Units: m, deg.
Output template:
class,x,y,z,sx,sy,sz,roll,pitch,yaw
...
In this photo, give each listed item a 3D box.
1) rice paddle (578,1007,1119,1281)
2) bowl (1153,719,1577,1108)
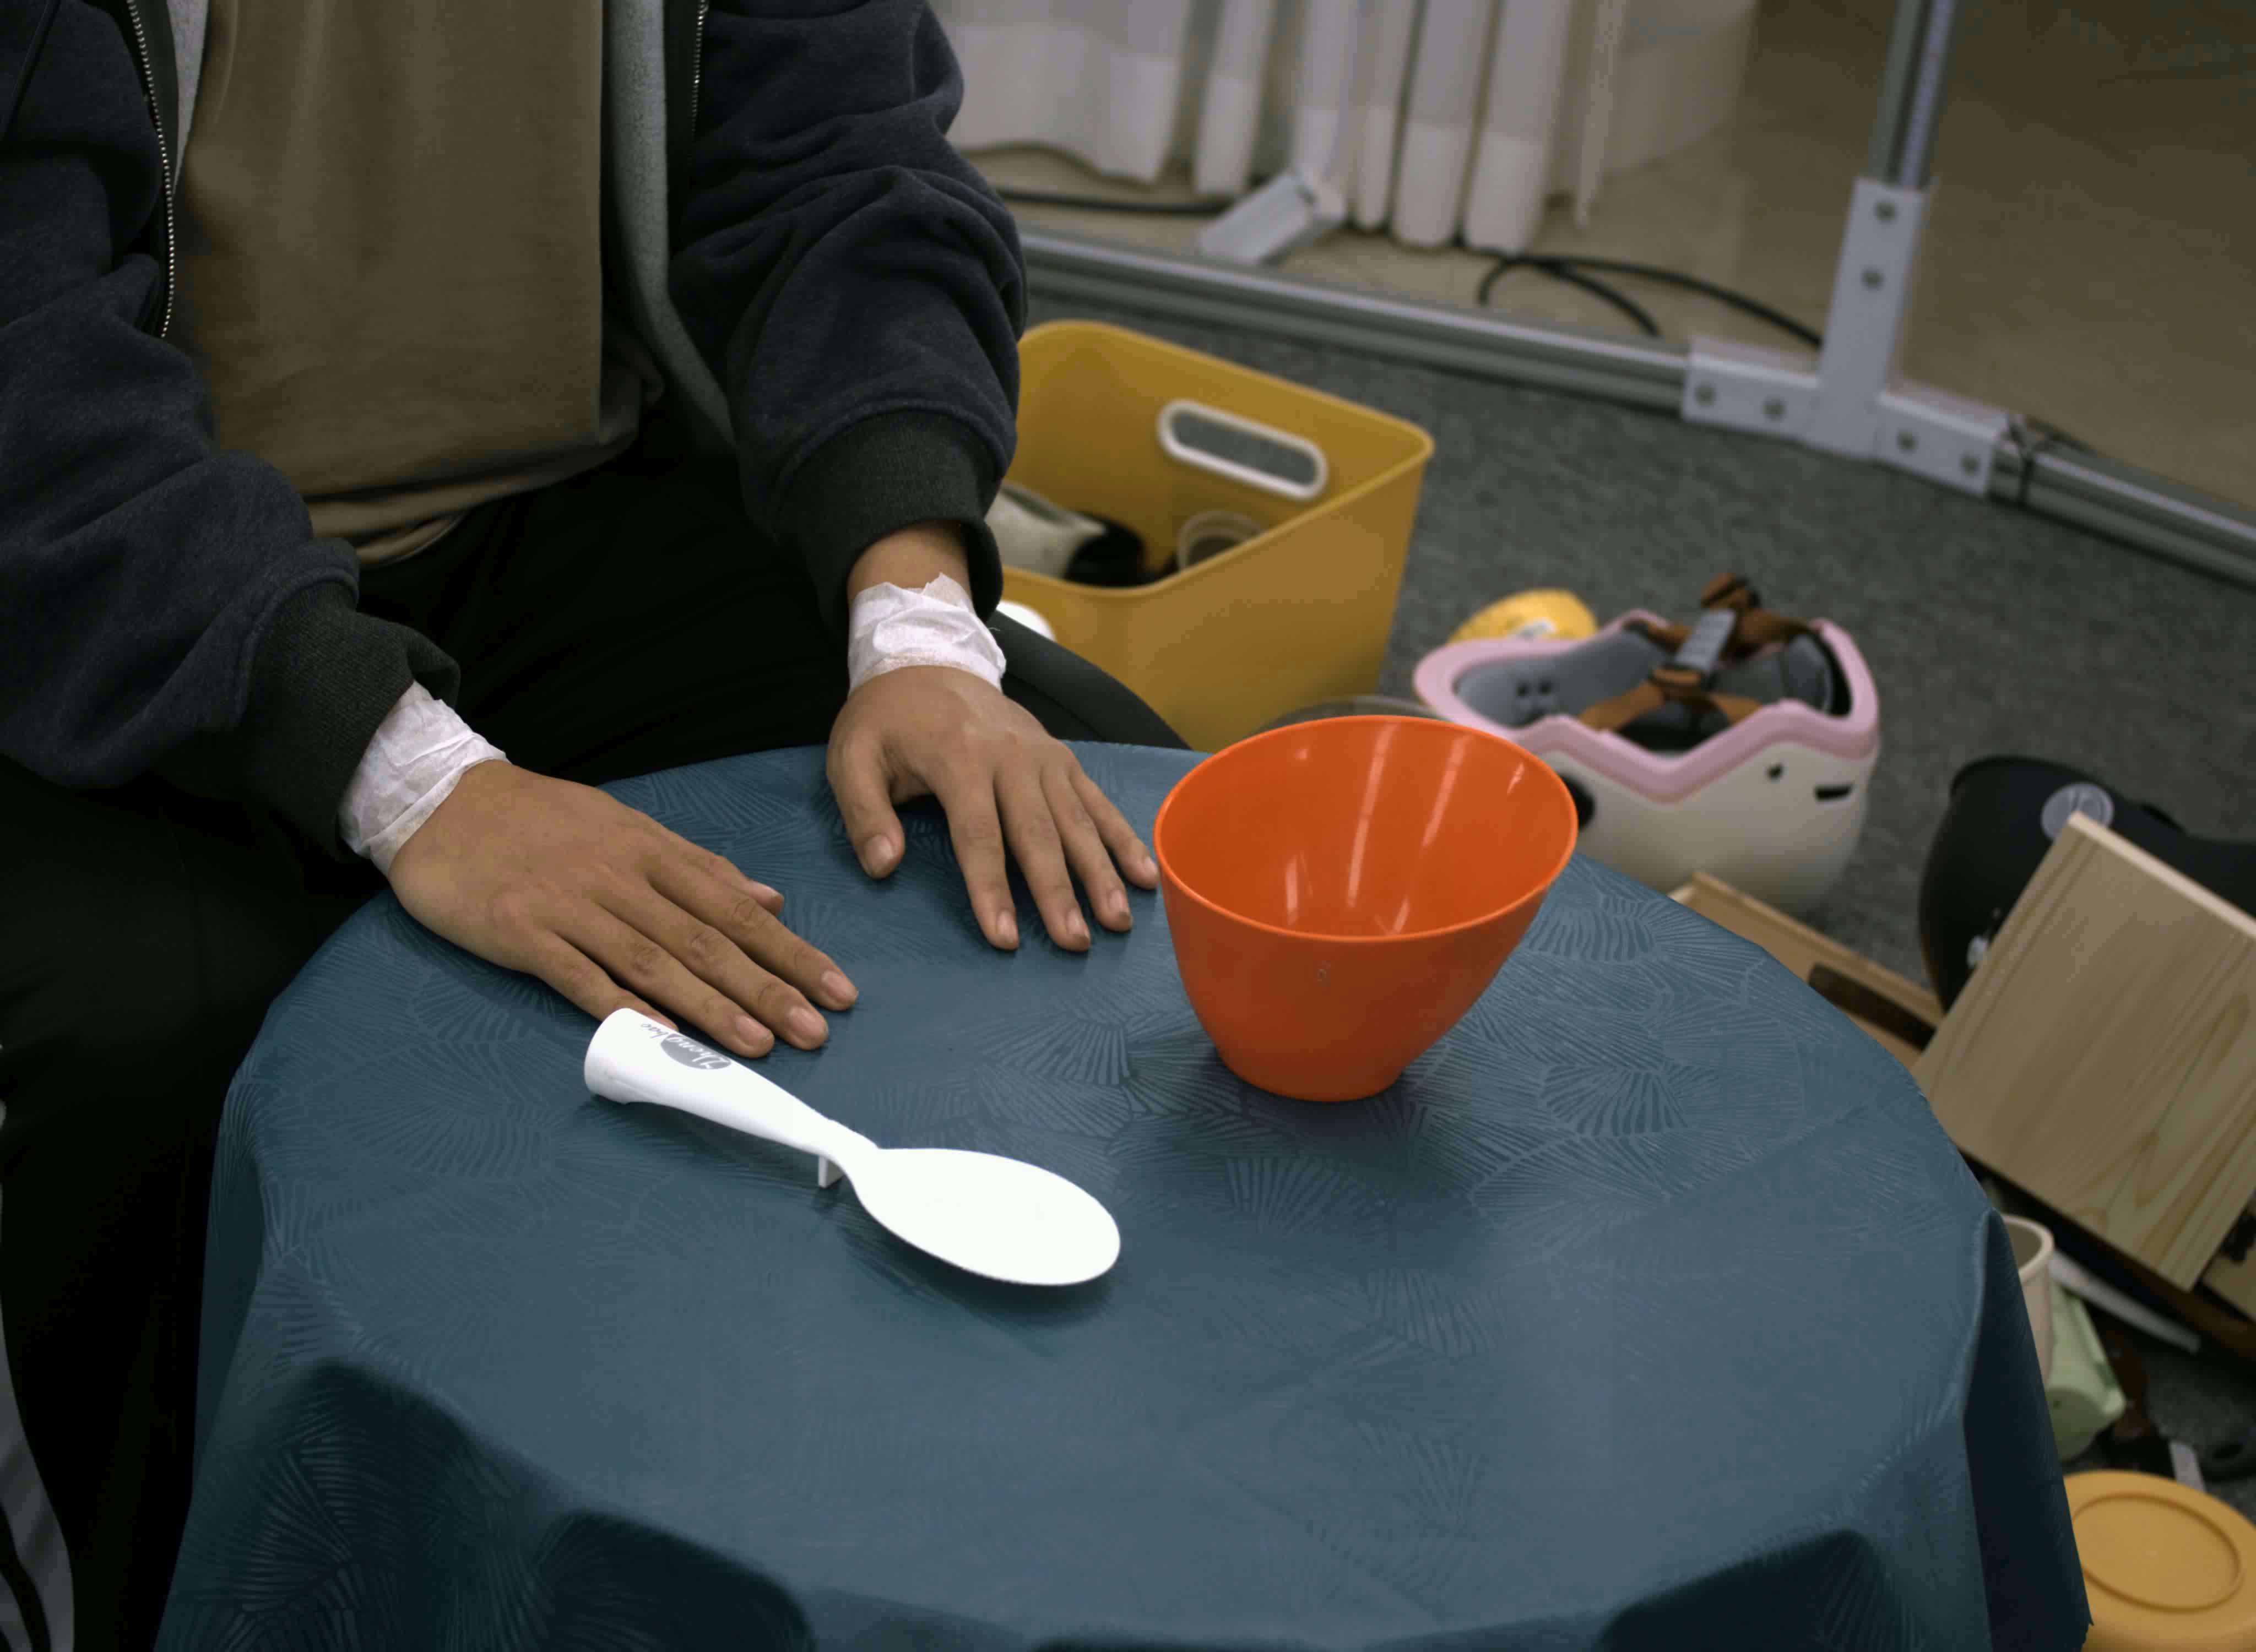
class,x,y,z,sx,sy,sz,roll,pitch,yaw
rice paddle,-0.093,0.108,1.778,0.206,0.029,0.068,21,31,26
bowl,0.080,0.037,1.879,0.147,0.104,0.149,4,28,-3
